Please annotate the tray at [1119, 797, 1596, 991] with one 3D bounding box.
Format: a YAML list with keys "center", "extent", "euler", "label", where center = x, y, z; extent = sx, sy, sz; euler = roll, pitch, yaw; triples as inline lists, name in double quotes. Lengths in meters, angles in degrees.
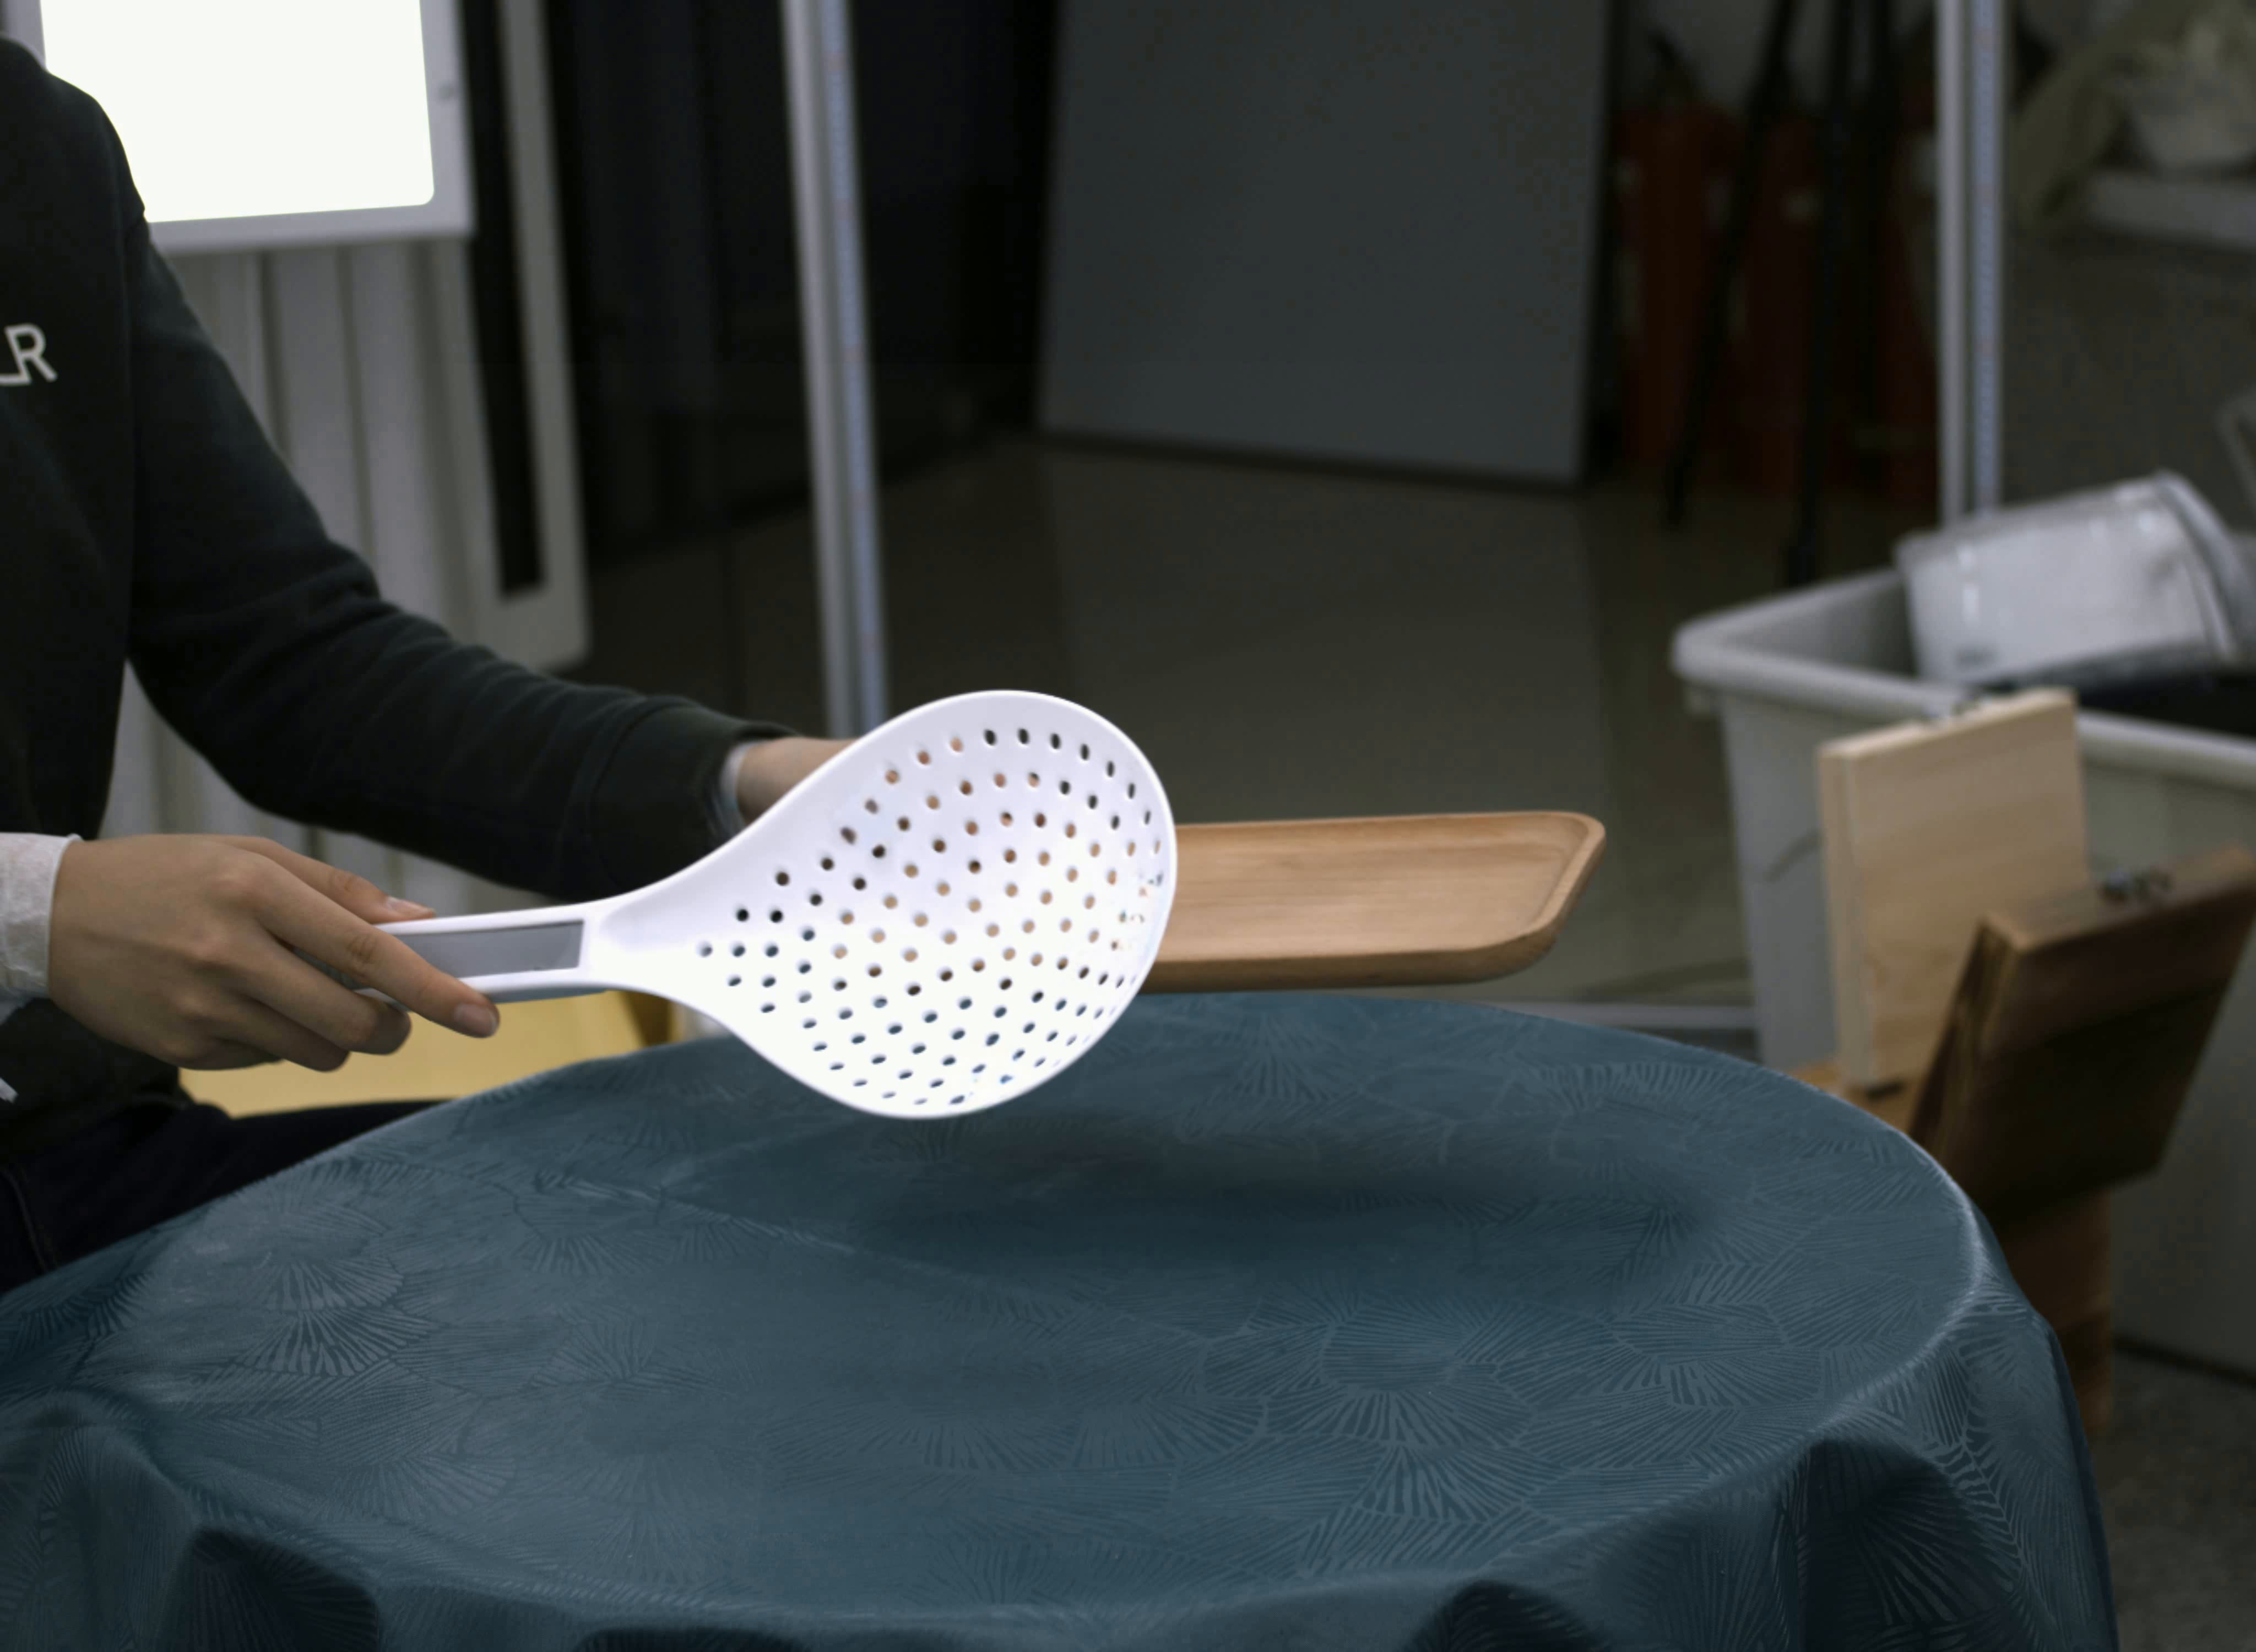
- center: [0.026, 0.025, 1.770]
  extent: [0.250, 0.023, 0.129]
  euler: [-4, 17, 20]
  label: "tray"

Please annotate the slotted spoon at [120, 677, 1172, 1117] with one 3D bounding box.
- center: [-0.146, 0.033, 1.596]
  extent: [0.349, 0.137, 0.045]
  euler: [-4, -26, 19]
  label: "slotted spoon"
